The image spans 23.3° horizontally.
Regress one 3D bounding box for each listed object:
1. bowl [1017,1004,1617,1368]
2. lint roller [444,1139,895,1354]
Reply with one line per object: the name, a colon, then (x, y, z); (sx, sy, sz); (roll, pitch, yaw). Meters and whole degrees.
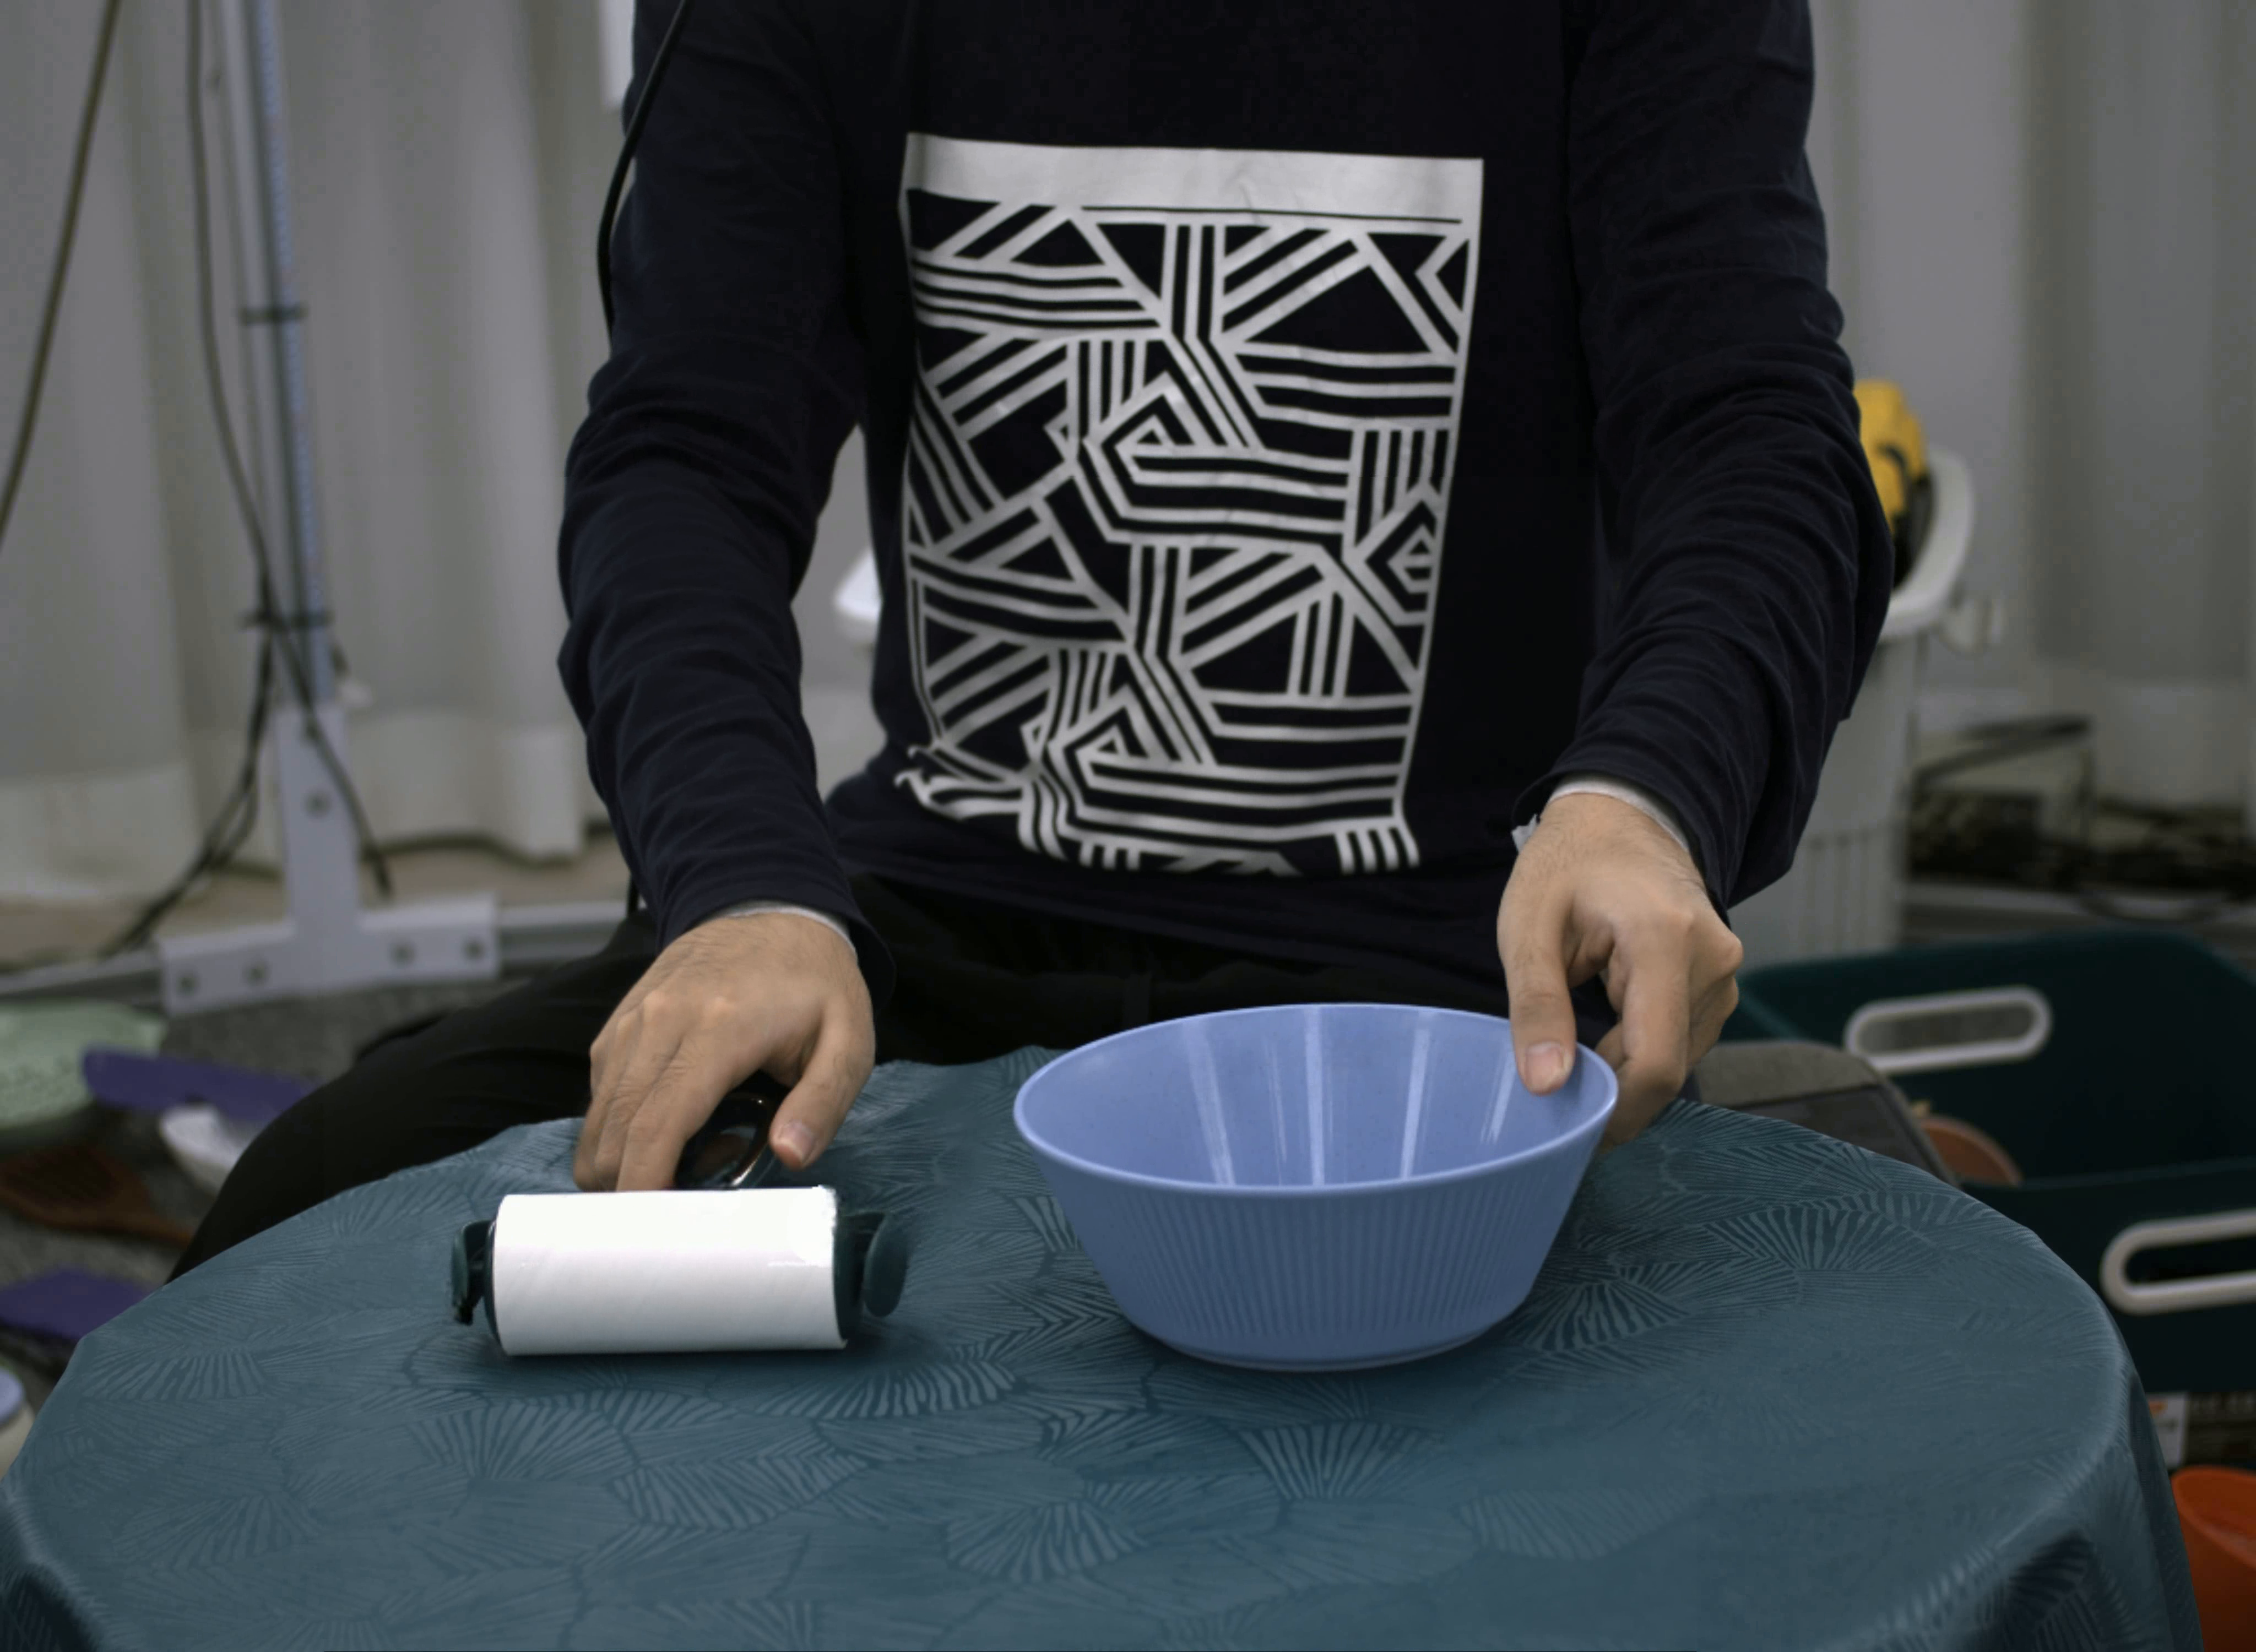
bowl: (0.056, 0.108, 1.594); (0.175, 0.070, 0.177); (-3, 14, 0)
lint roller: (-0.129, 0.109, 1.656); (0.134, 0.048, 0.181); (-2, 17, 4)
